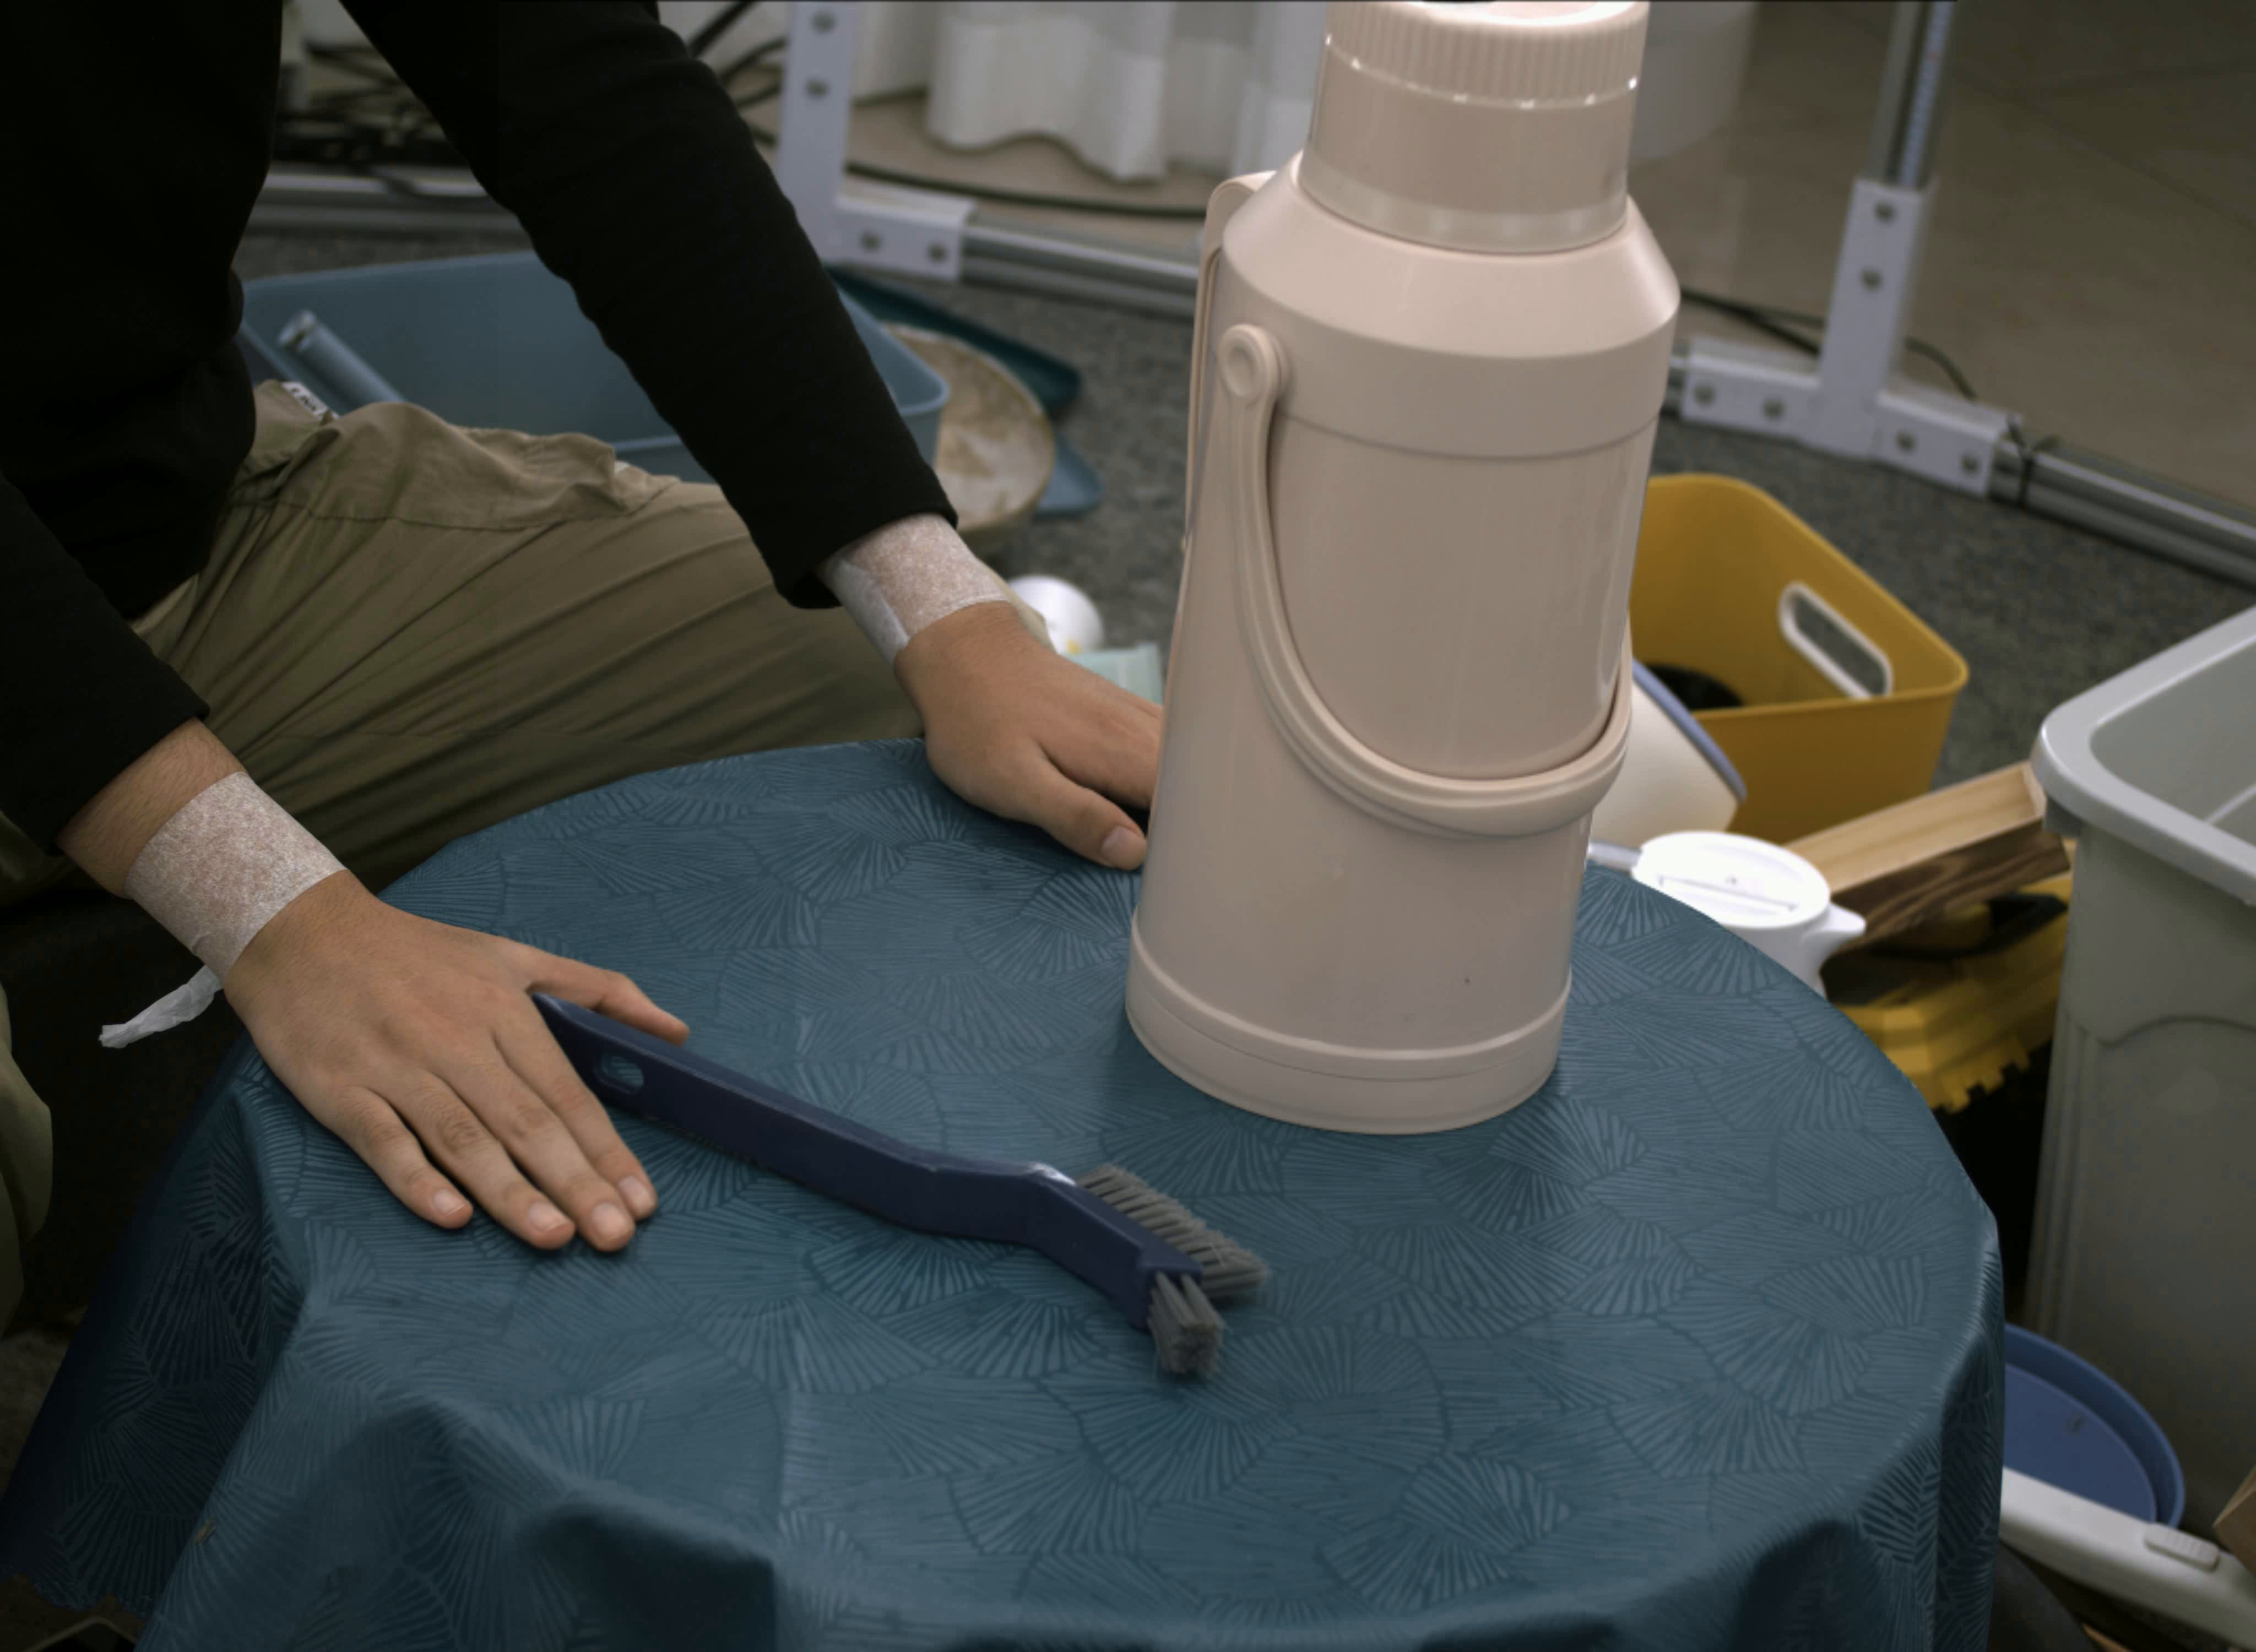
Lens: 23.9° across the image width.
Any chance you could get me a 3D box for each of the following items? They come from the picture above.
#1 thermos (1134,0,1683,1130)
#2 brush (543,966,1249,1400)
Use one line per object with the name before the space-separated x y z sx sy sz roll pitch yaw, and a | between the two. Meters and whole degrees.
thermos | 0.092 -0.111 1.846 0.174 0.405 0.209 -15 34 -35
brush | -0.088 0.115 1.763 0.274 0.033 0.096 18 29 17
